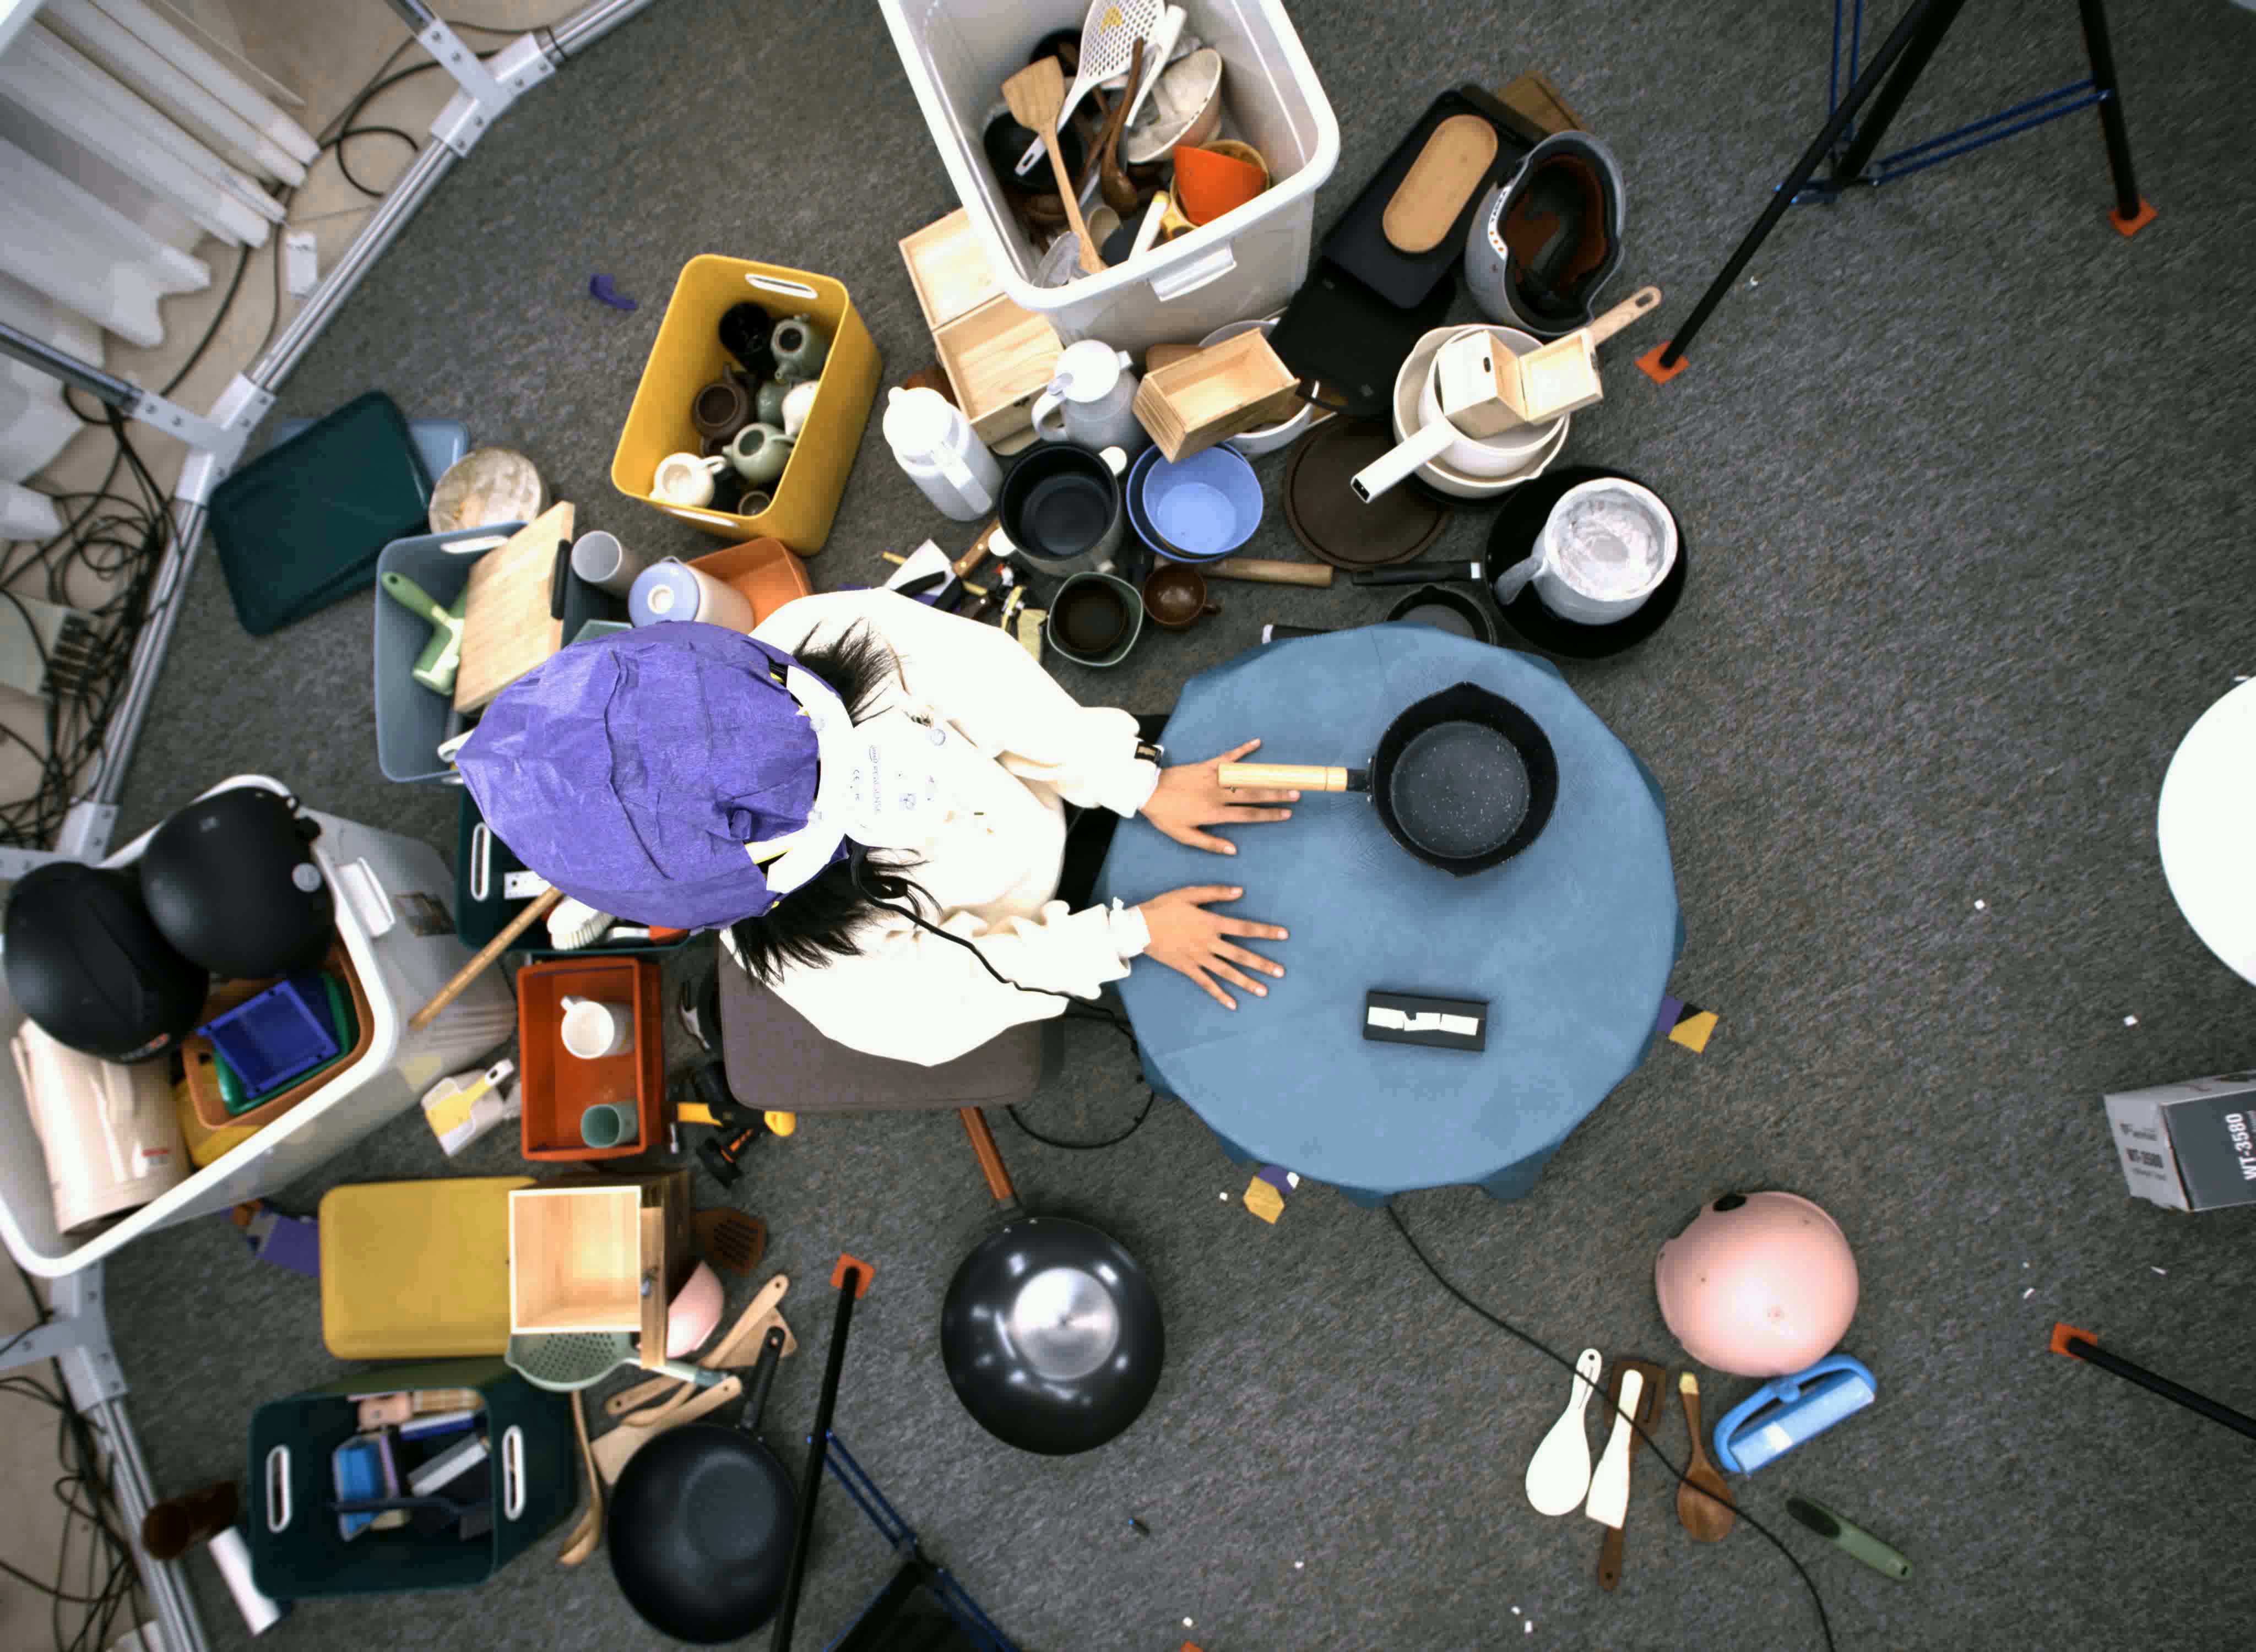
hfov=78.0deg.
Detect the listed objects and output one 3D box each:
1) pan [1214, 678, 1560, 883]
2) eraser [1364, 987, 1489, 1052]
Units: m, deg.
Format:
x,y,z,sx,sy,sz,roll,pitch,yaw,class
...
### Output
x,y,z,sx,sy,sz,roll,pitch,yaw,class
0.262,-0.045,1.413,0.344,0.108,0.207,0,87,9,pan
0.310,0.198,1.432,0.126,0.030,0.053,5,87,12,eraser
